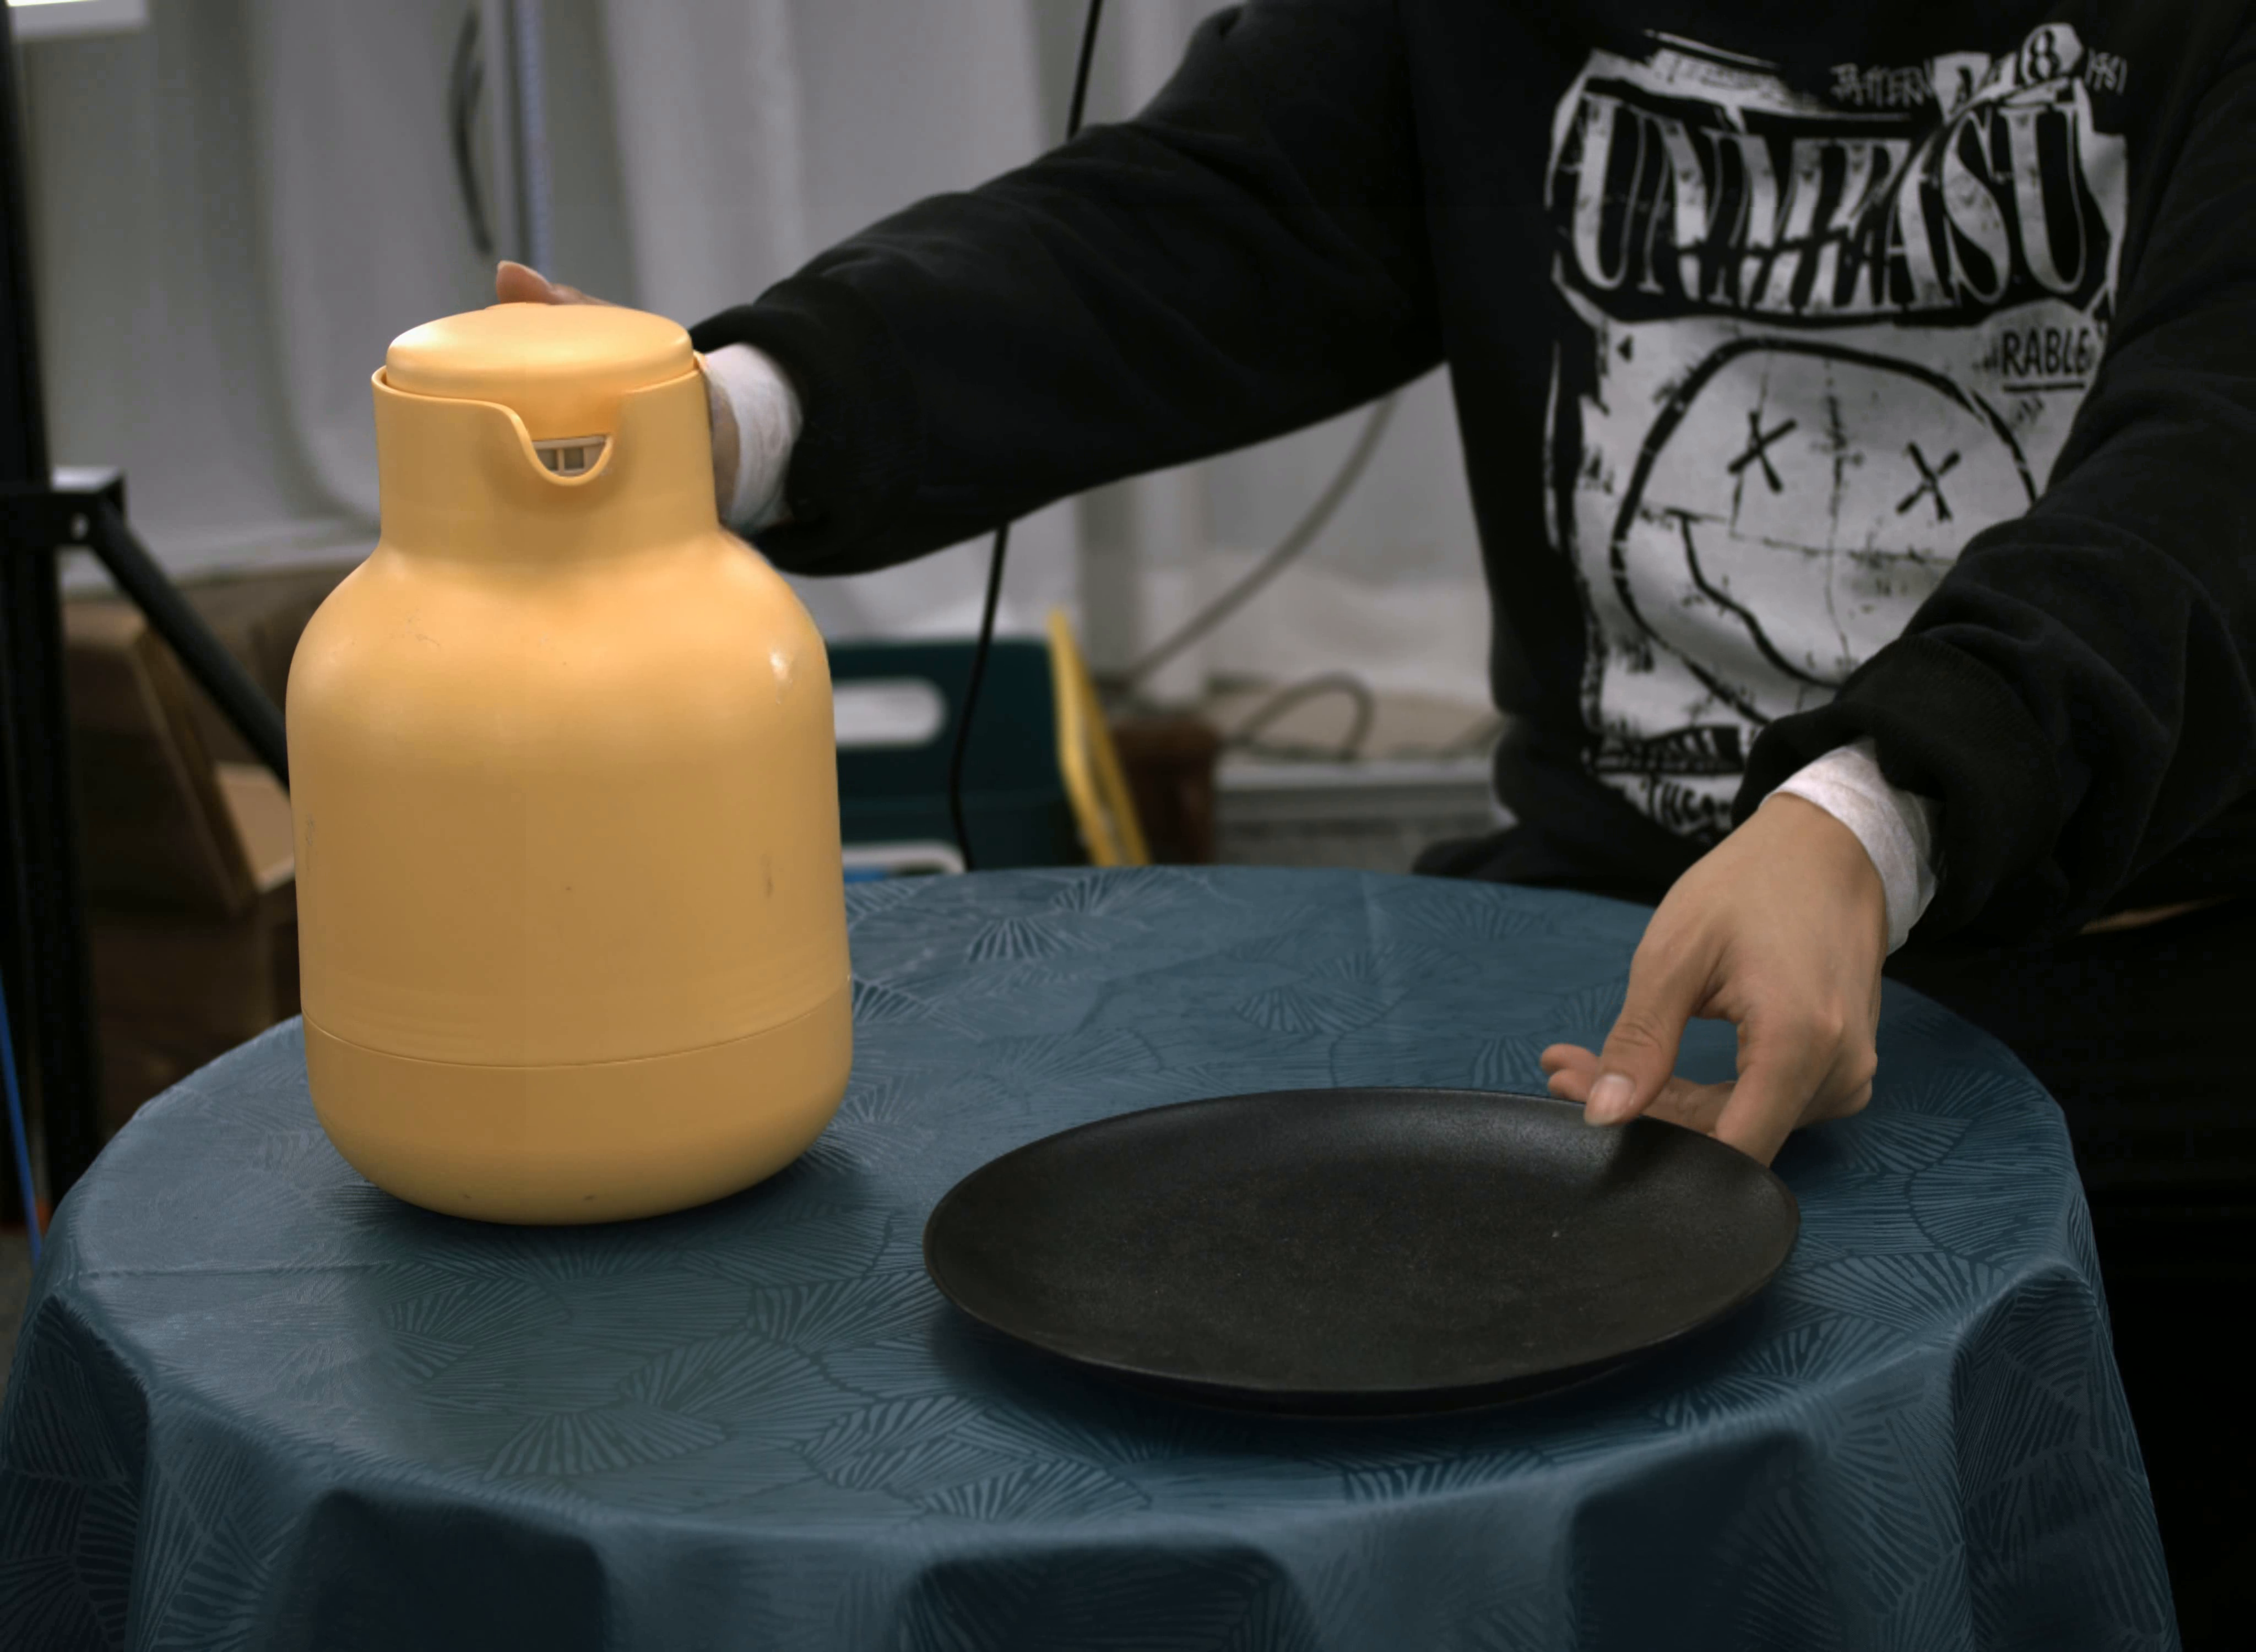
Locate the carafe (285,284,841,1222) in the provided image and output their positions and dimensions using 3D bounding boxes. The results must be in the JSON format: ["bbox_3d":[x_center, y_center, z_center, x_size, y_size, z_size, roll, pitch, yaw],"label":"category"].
[{"bbox_3d":[-0.168,-0.030,1.589,0.161,0.260,0.204,-2,17,-8],"label":"carafe"}]

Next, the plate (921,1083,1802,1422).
[{"bbox_3d":[0.064,0.120,1.459,0.243,0.023,0.245,-3,16,-1],"label":"plate"}]
